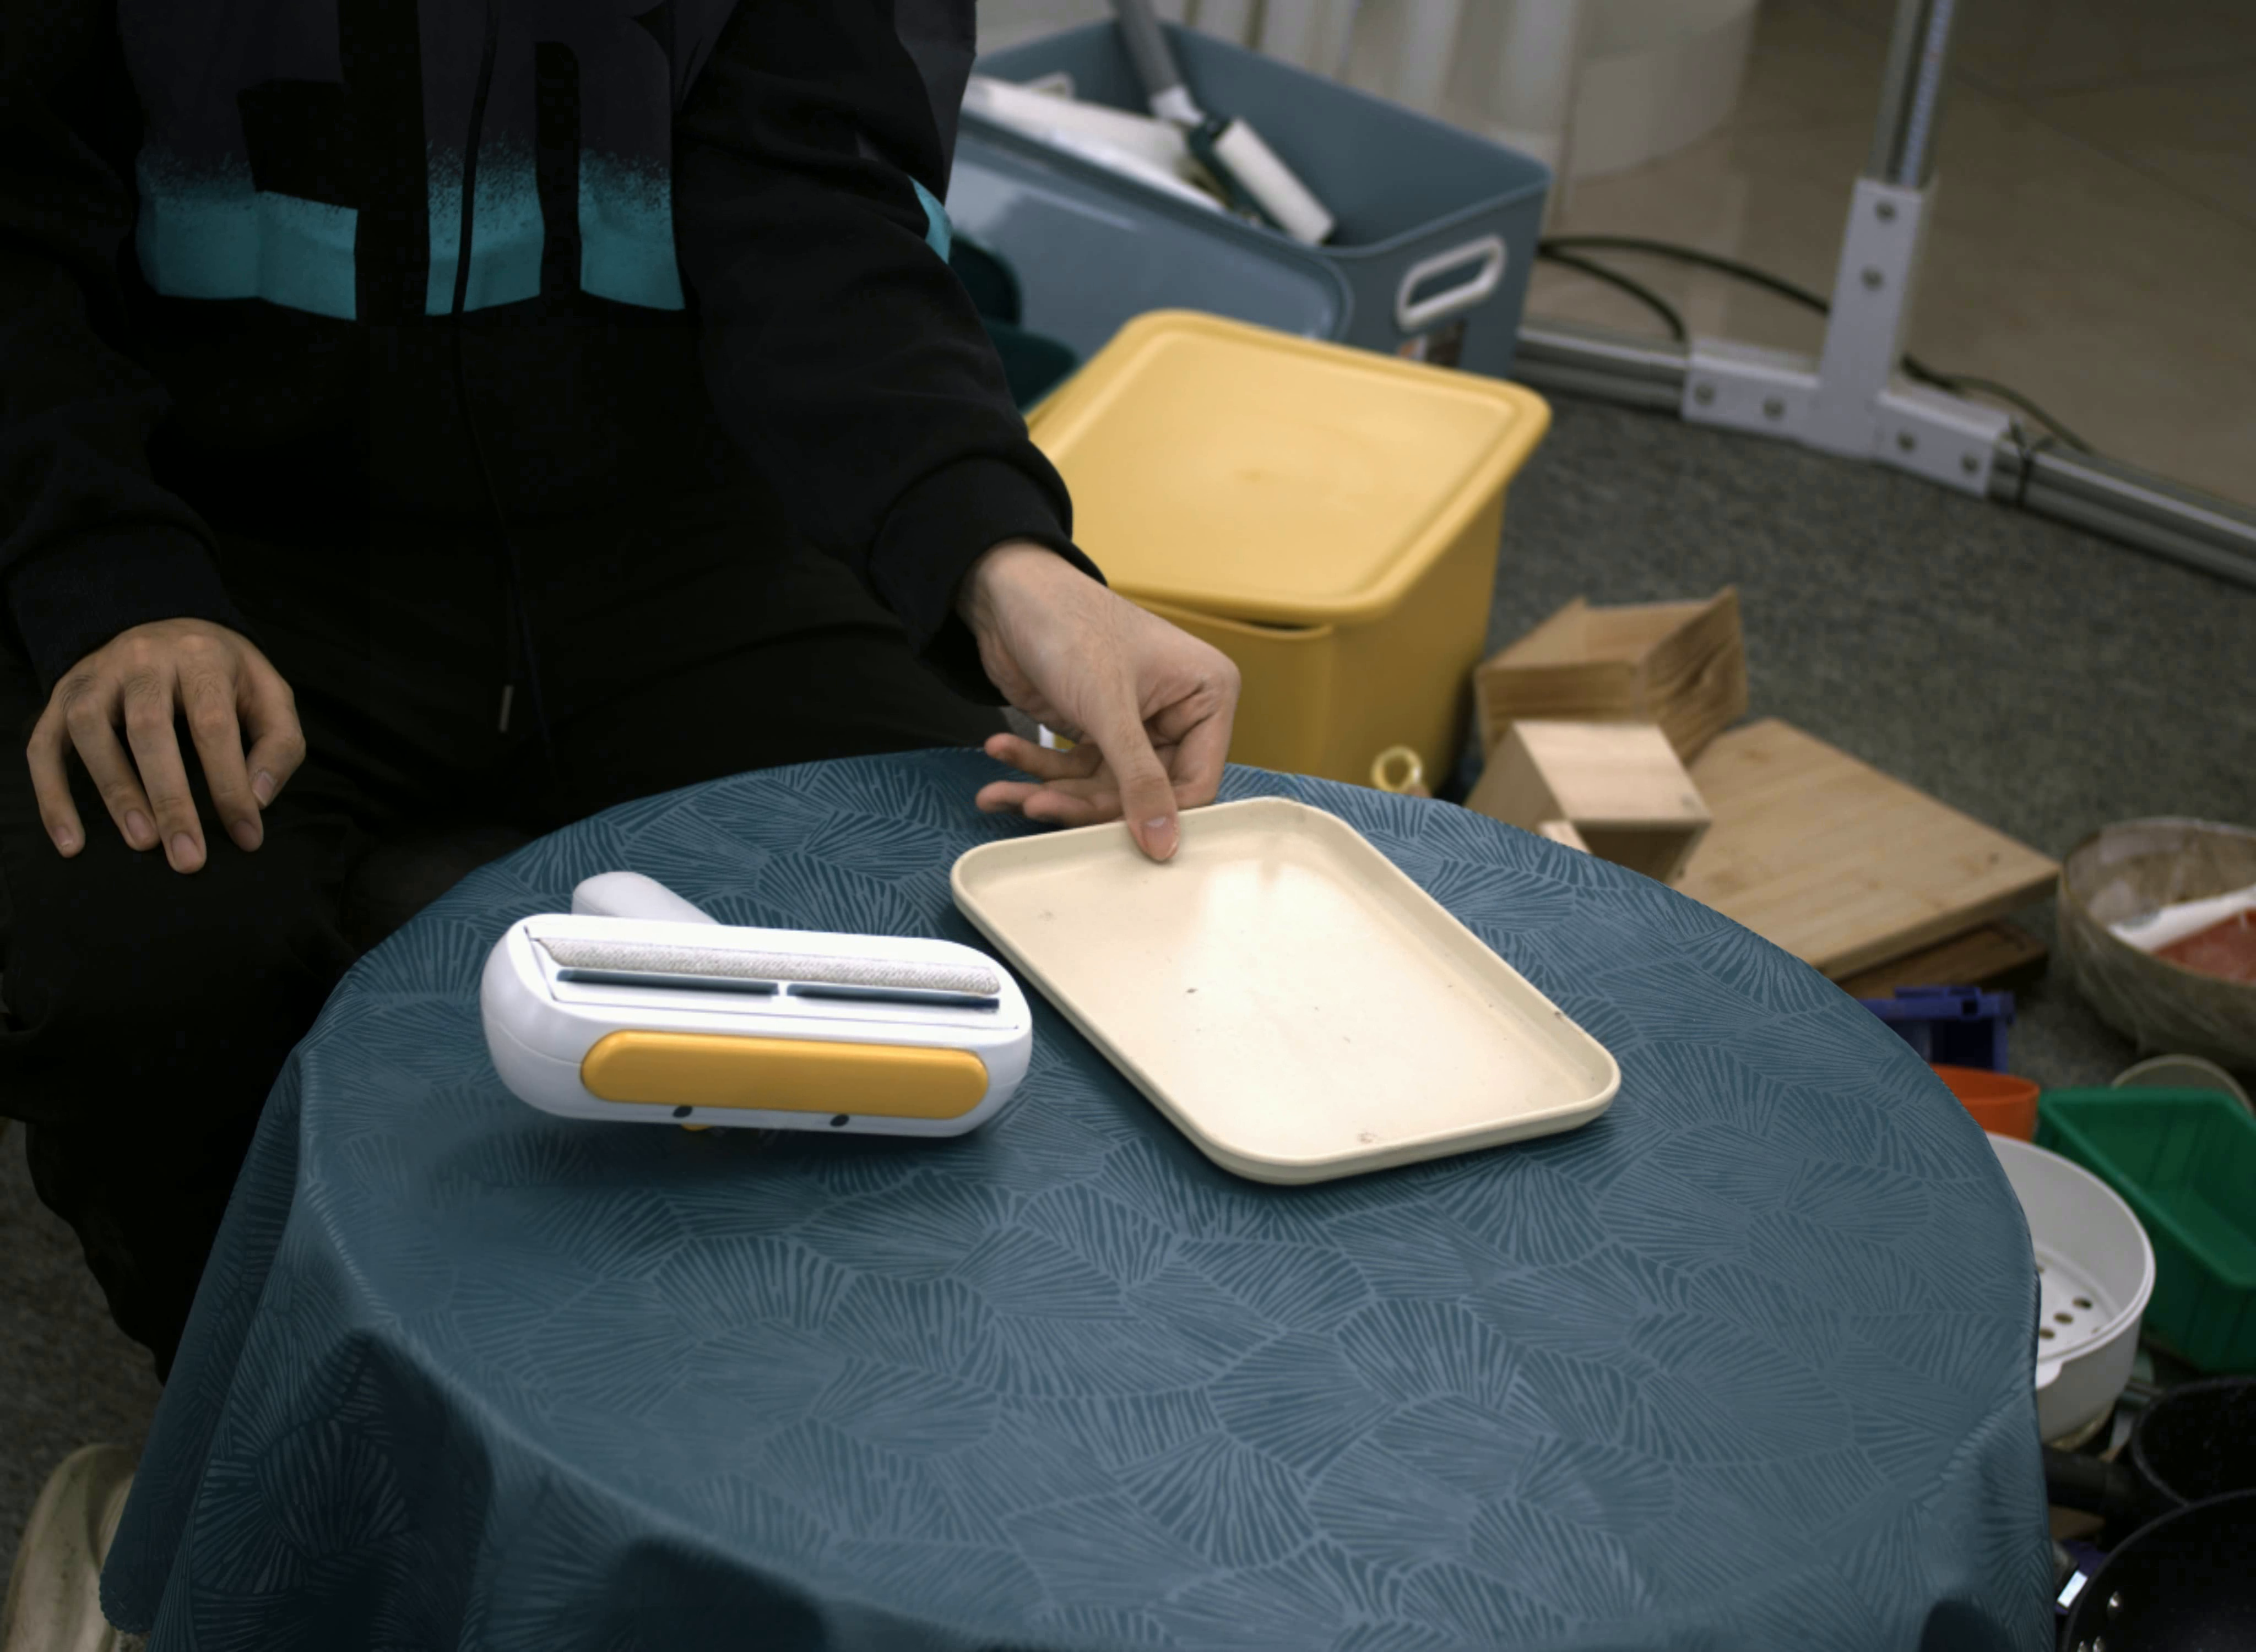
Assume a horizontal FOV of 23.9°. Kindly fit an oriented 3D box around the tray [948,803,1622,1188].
[{"bbox_3d":[0.053,0.059,1.917,0.170,0.017,0.242,-10,31,-28],"label":"tray"}]

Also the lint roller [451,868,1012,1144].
[{"bbox_3d":[-0.151,0.048,1.839,0.191,0.074,0.194,2,25,-21],"label":"lint roller"}]
